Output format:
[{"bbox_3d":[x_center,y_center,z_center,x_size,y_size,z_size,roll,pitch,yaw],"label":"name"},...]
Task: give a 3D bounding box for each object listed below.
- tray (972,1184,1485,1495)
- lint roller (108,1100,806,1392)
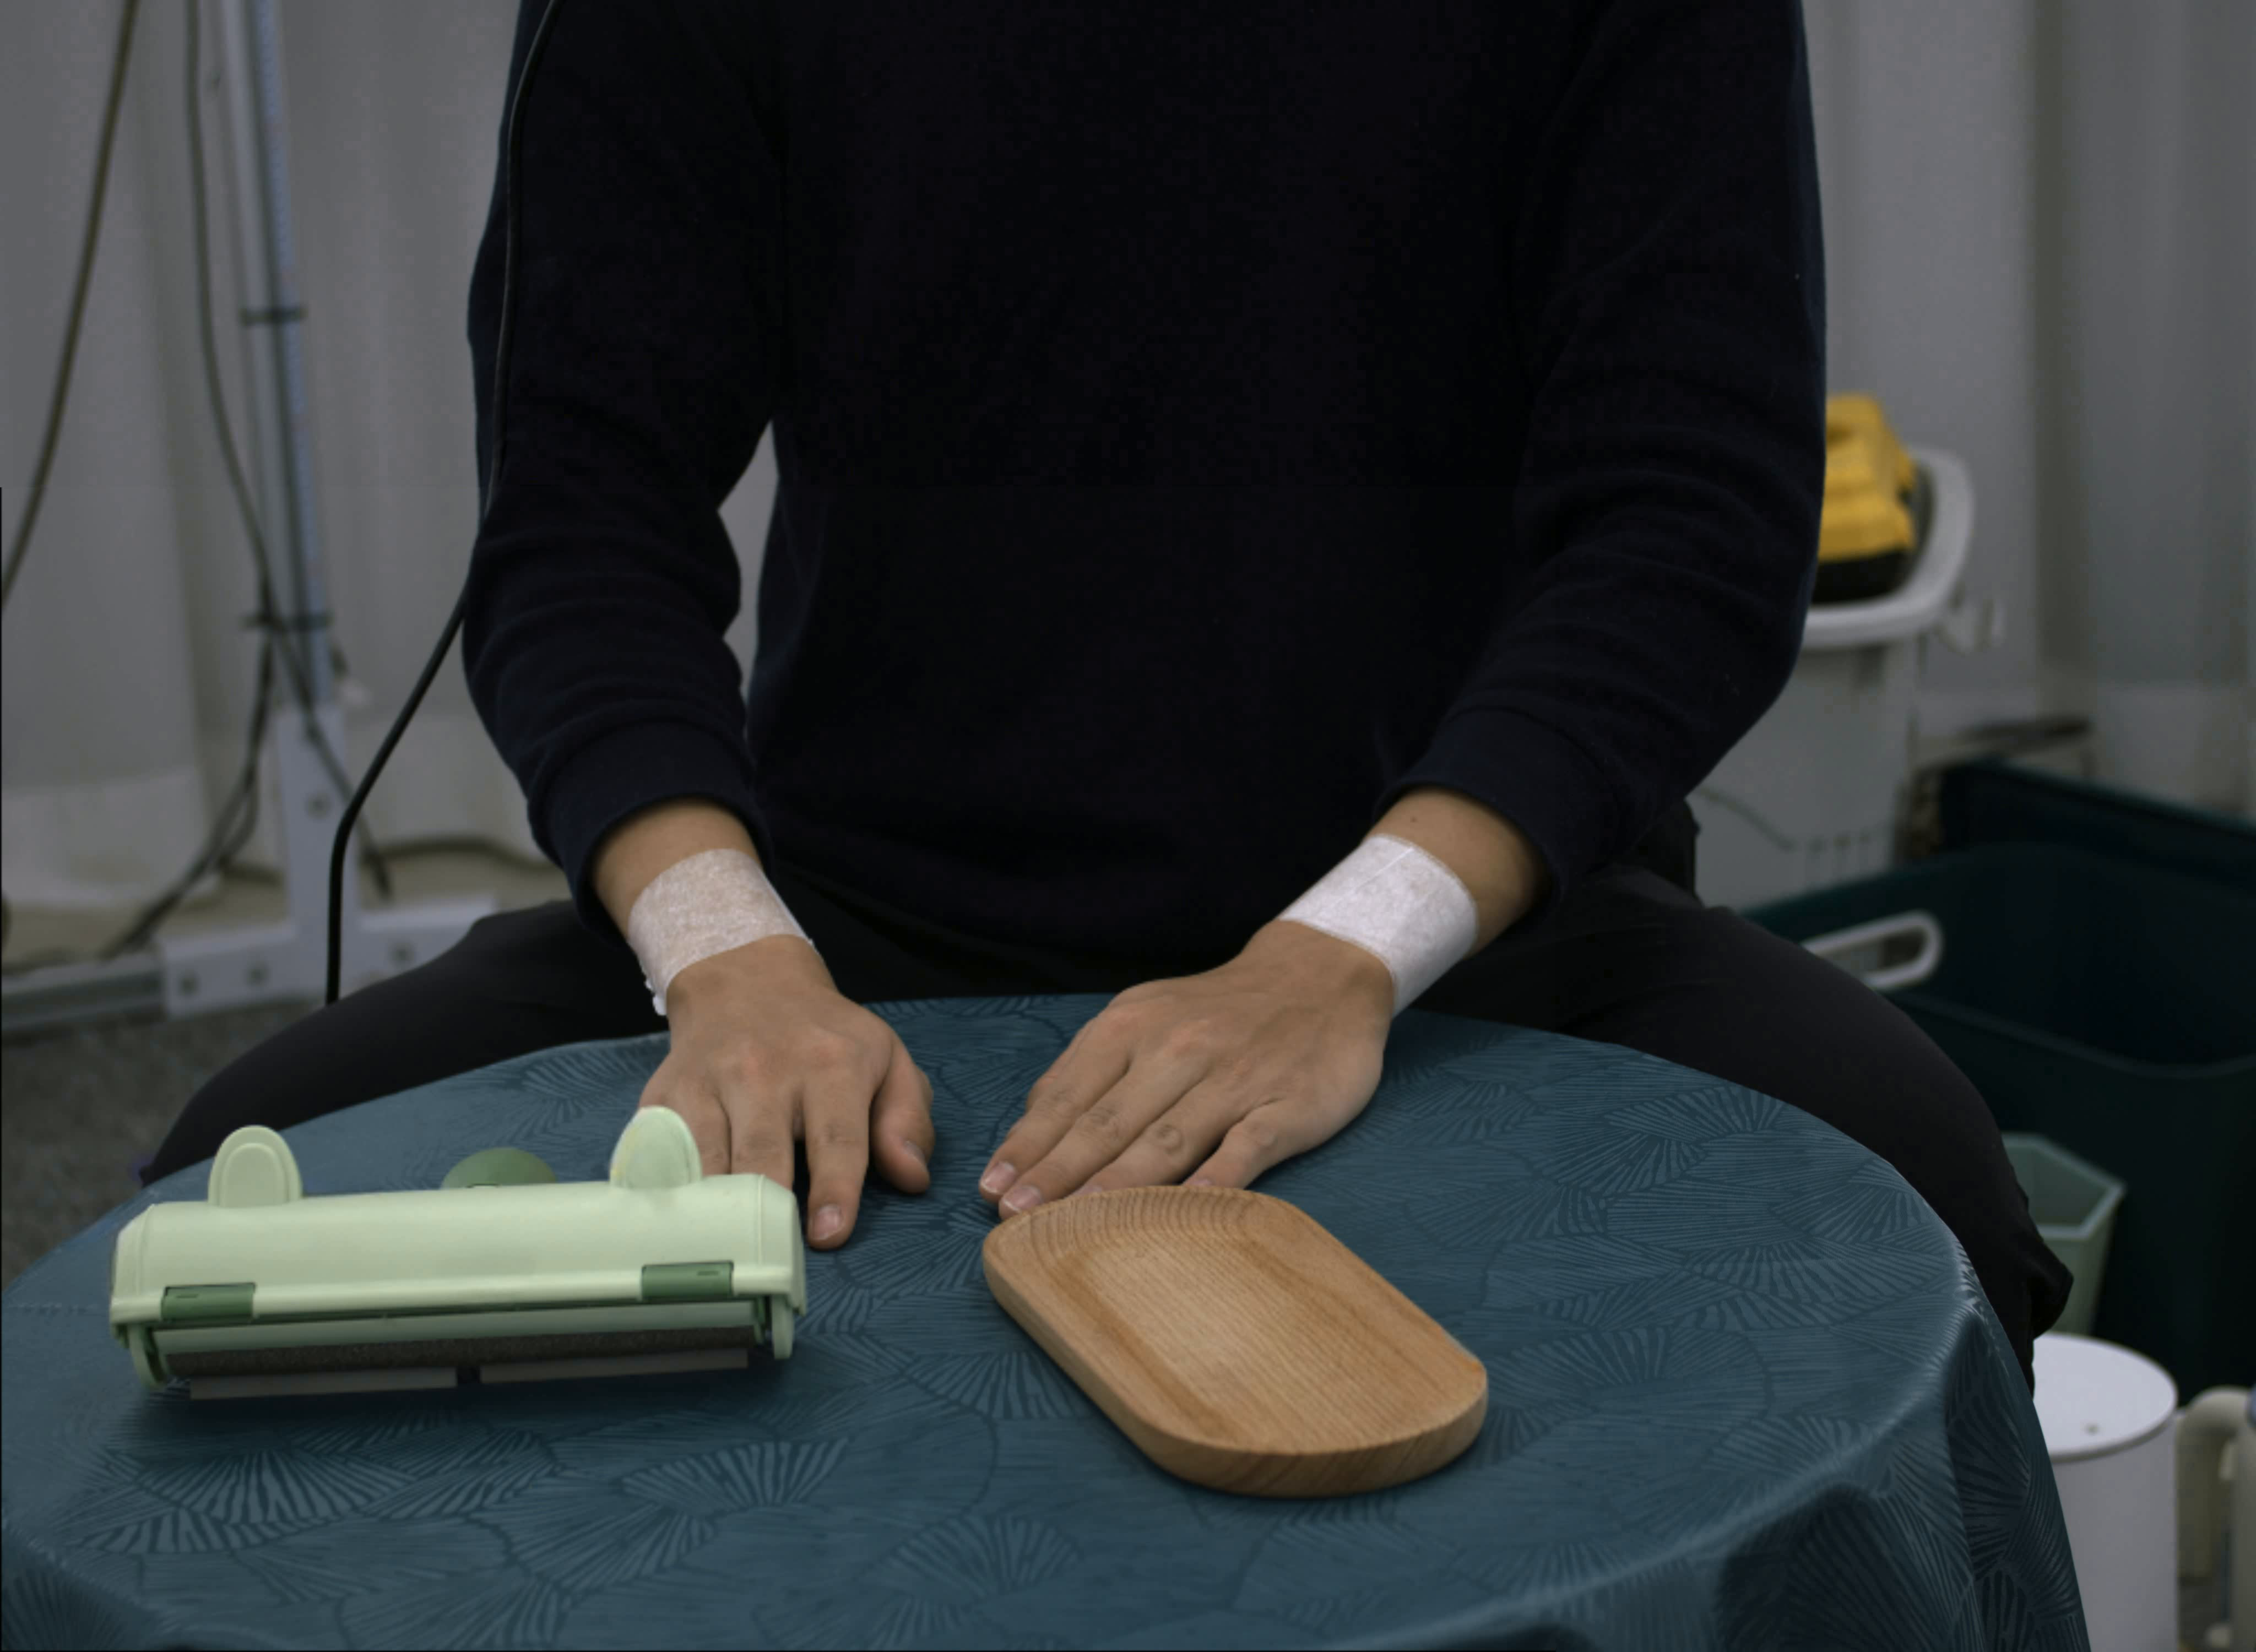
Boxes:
[{"bbox_3d":[0.026,0.145,1.567,0.101,0.020,0.233,-7,14,-18],"label":"tray"},{"bbox_3d":[-0.194,0.104,1.625,0.198,0.081,0.185,-3,21,-1],"label":"lint roller"}]
